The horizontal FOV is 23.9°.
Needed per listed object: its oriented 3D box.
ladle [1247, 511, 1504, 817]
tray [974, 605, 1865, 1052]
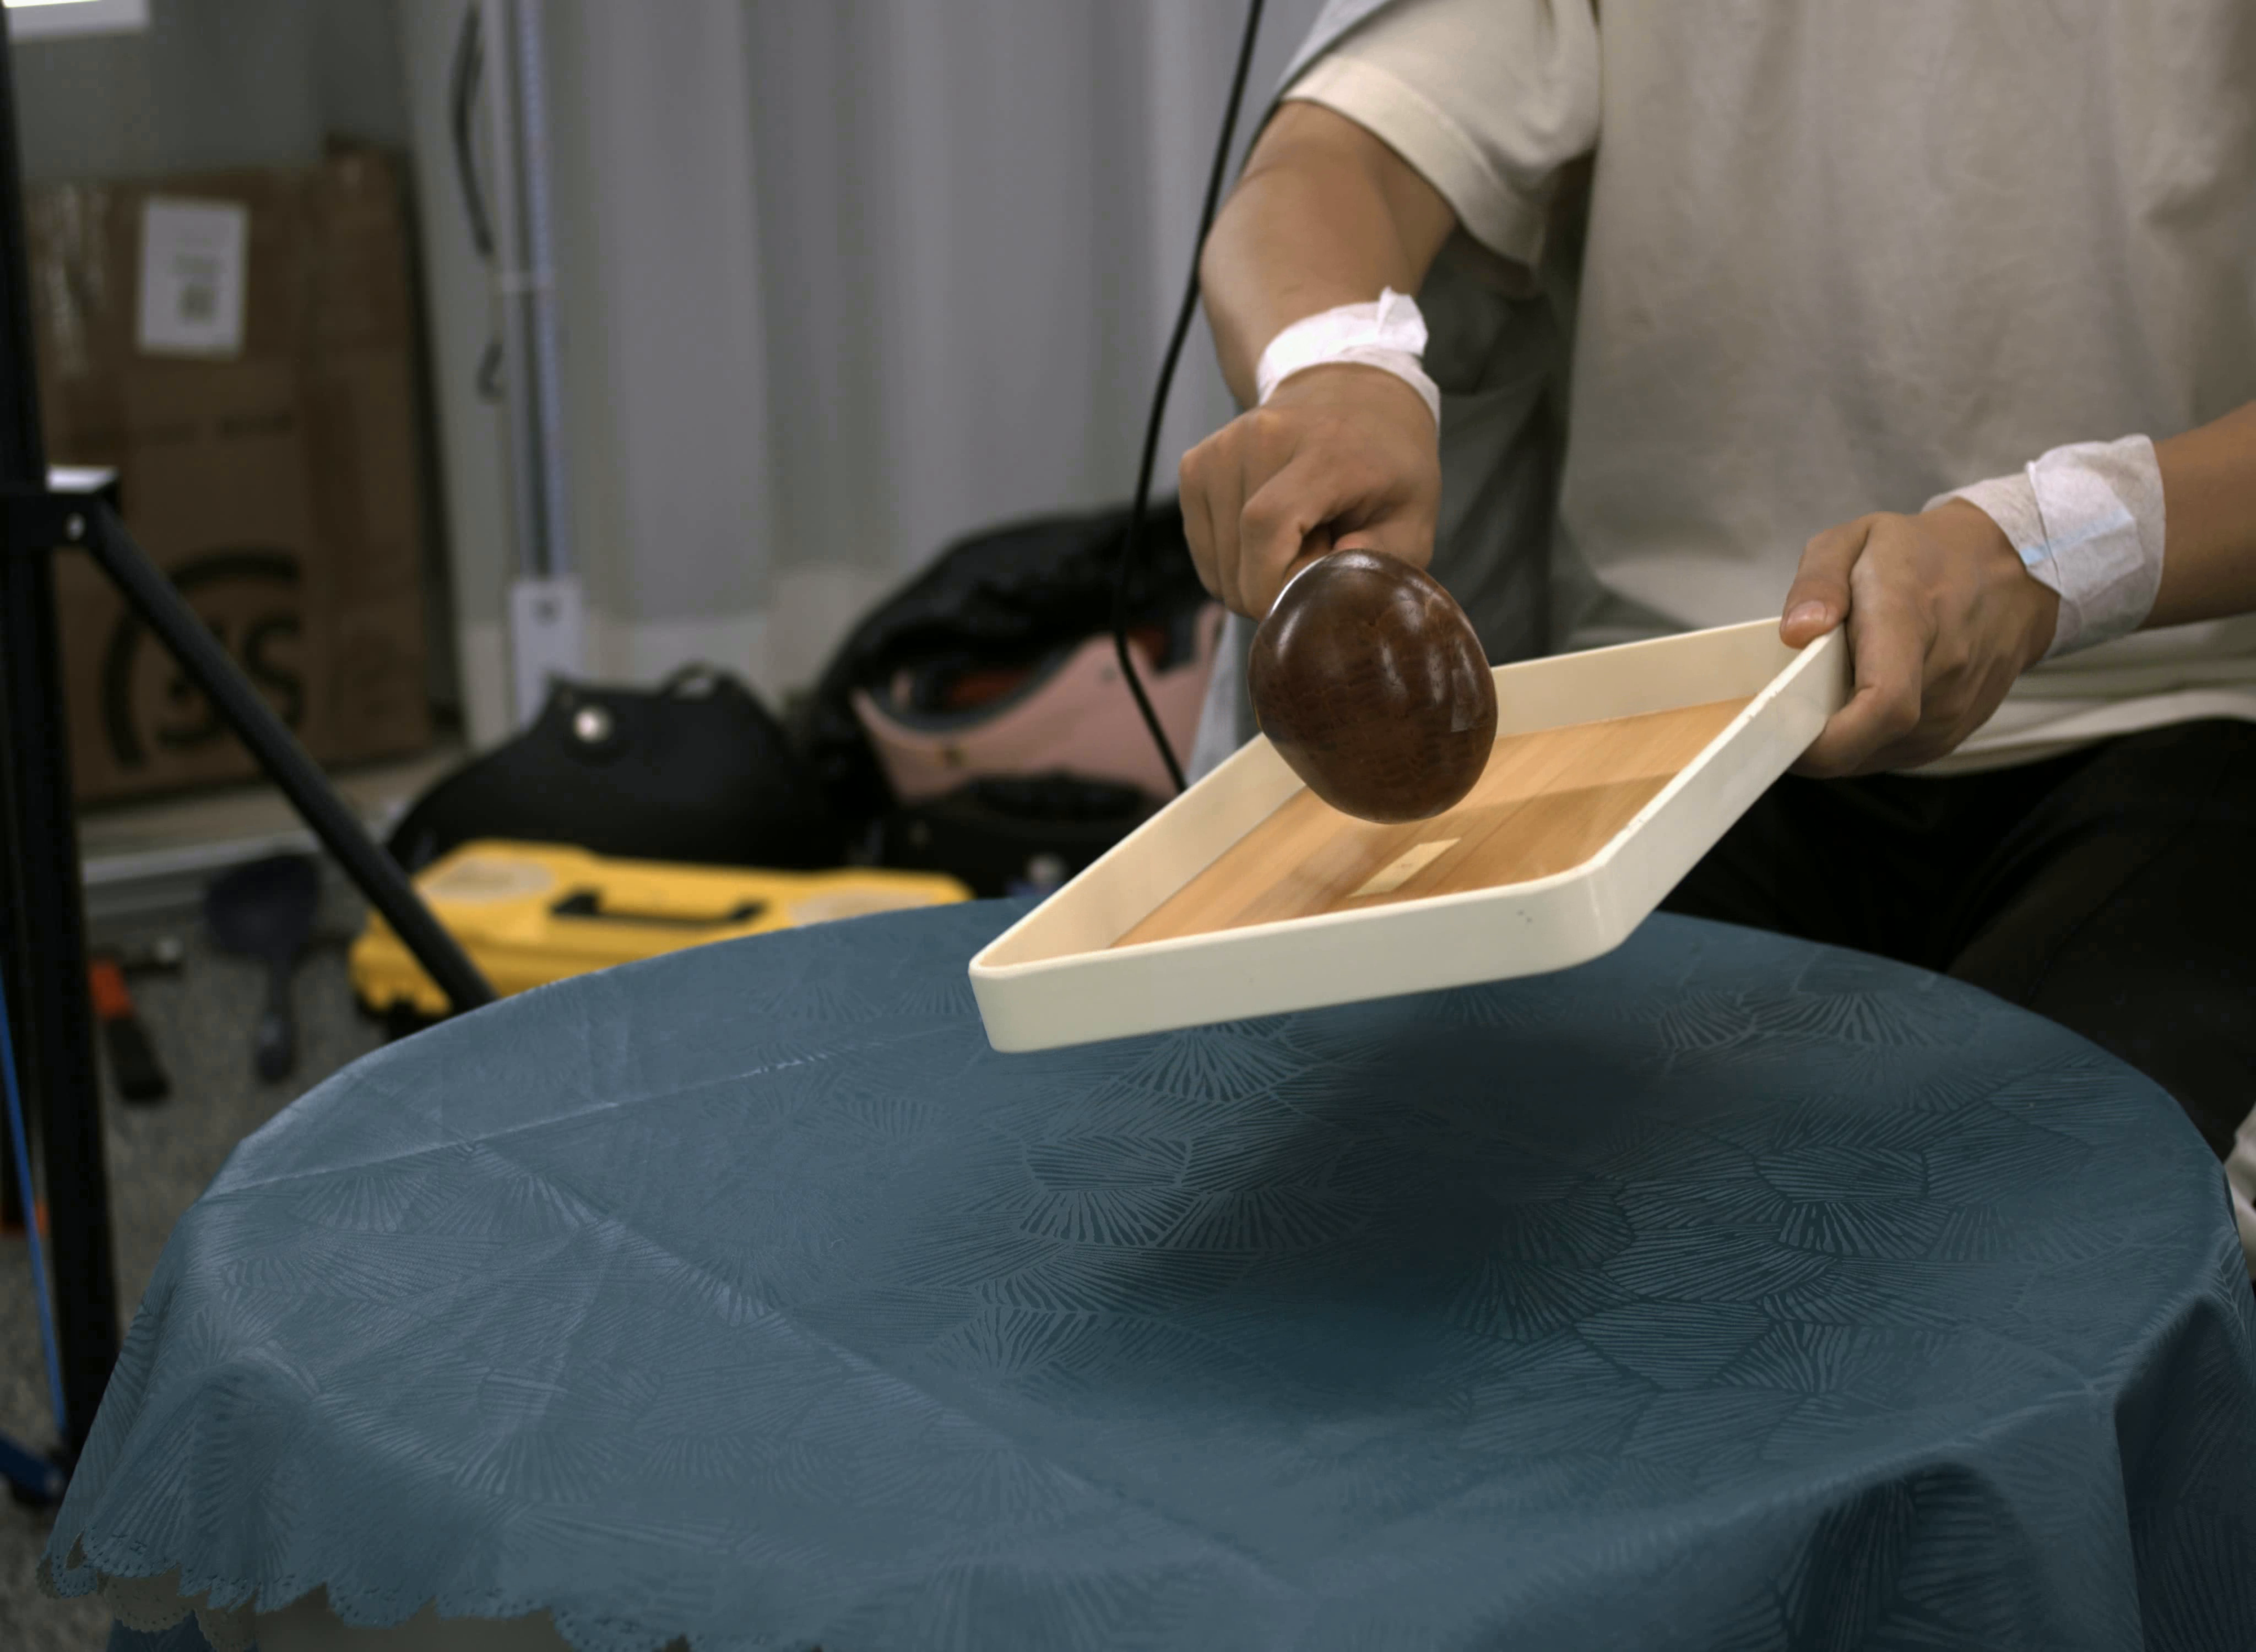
[{"bbox_3d":[0.078,-0.067,1.612,0.076,0.082,0.274,-3,13,6],"label":"ladle"},{"bbox_3d":[0.093,-0.001,1.549,0.194,0.027,0.296,-10,12,25],"label":"tray"}]
